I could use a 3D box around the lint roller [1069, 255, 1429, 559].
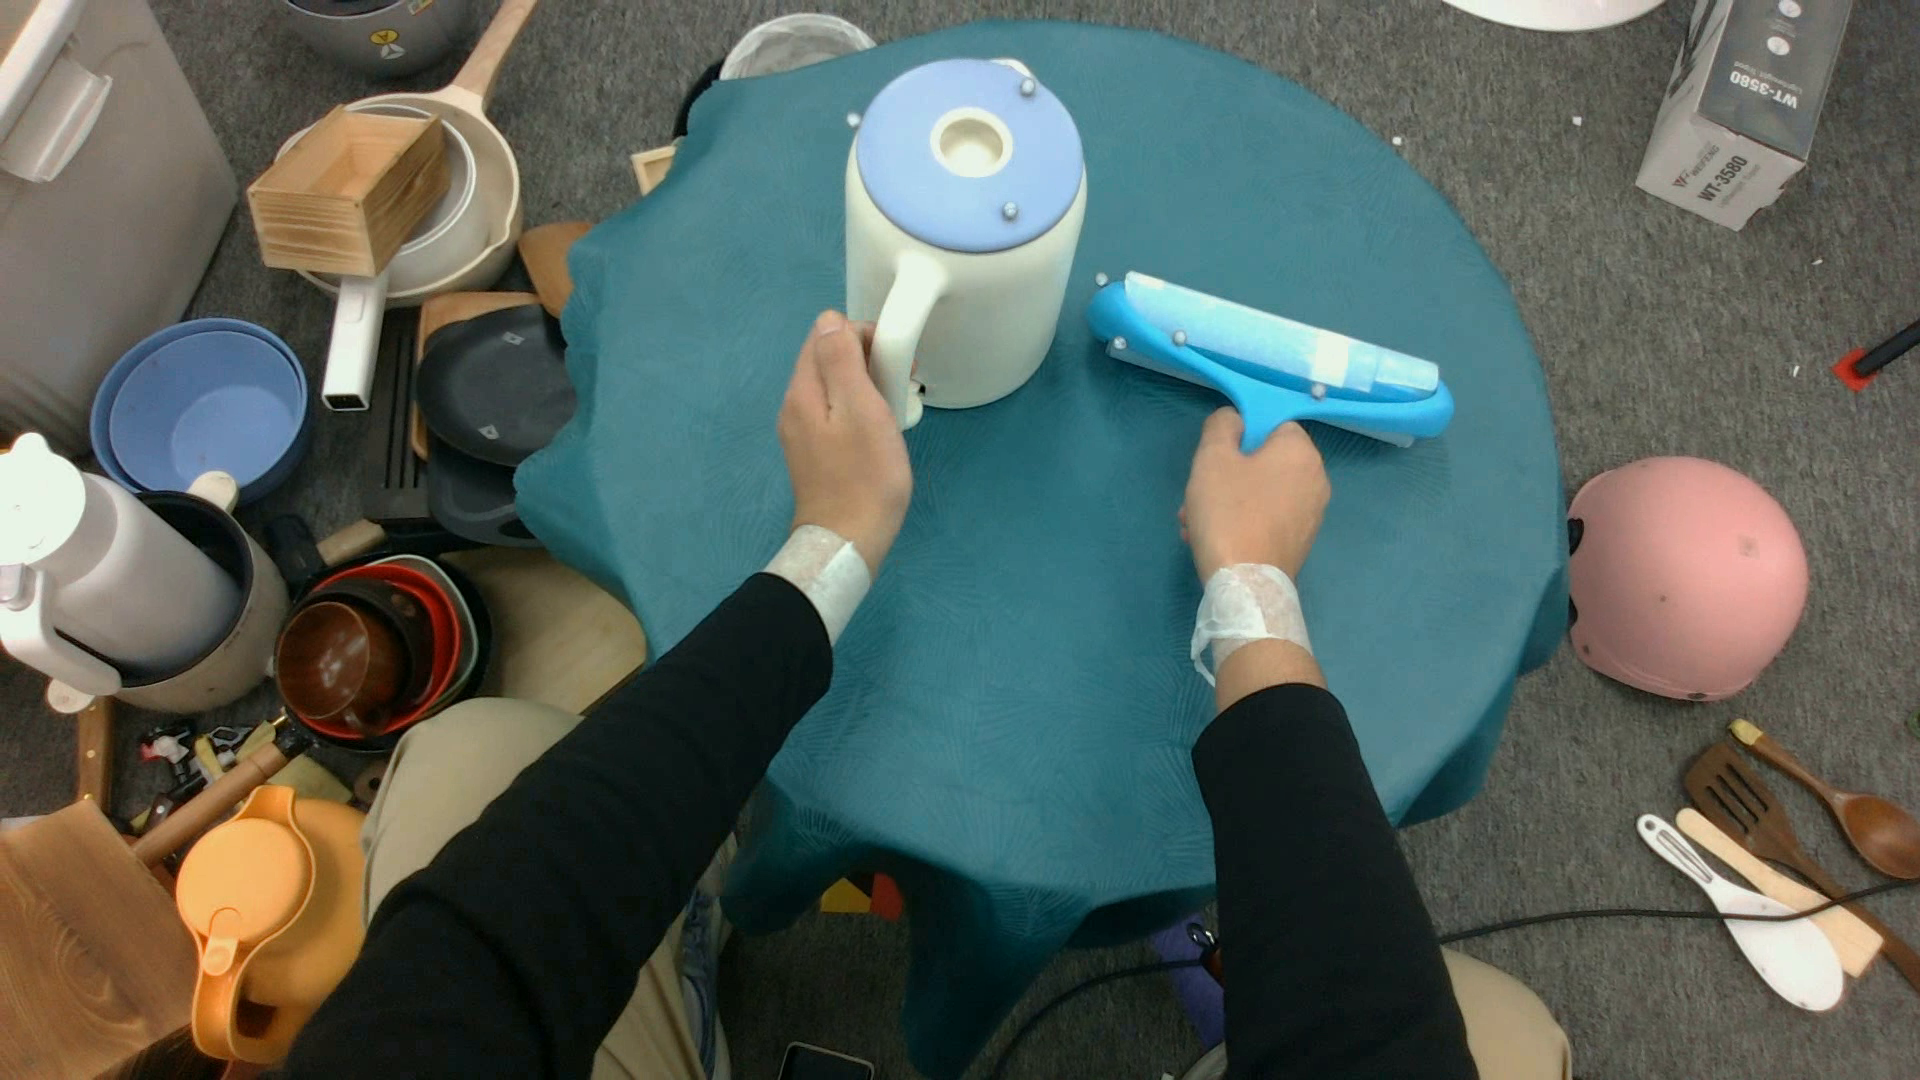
[{"bbox_3d":[0.164,-0.075,0.814,0.229,0.067,0.181,18,54,-2],"label":"lint roller"}]

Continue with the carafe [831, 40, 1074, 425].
[{"bbox_3d":[-0.016,-0.158,0.780,0.132,0.182,0.192,19,70,4],"label":"carafe"}]
